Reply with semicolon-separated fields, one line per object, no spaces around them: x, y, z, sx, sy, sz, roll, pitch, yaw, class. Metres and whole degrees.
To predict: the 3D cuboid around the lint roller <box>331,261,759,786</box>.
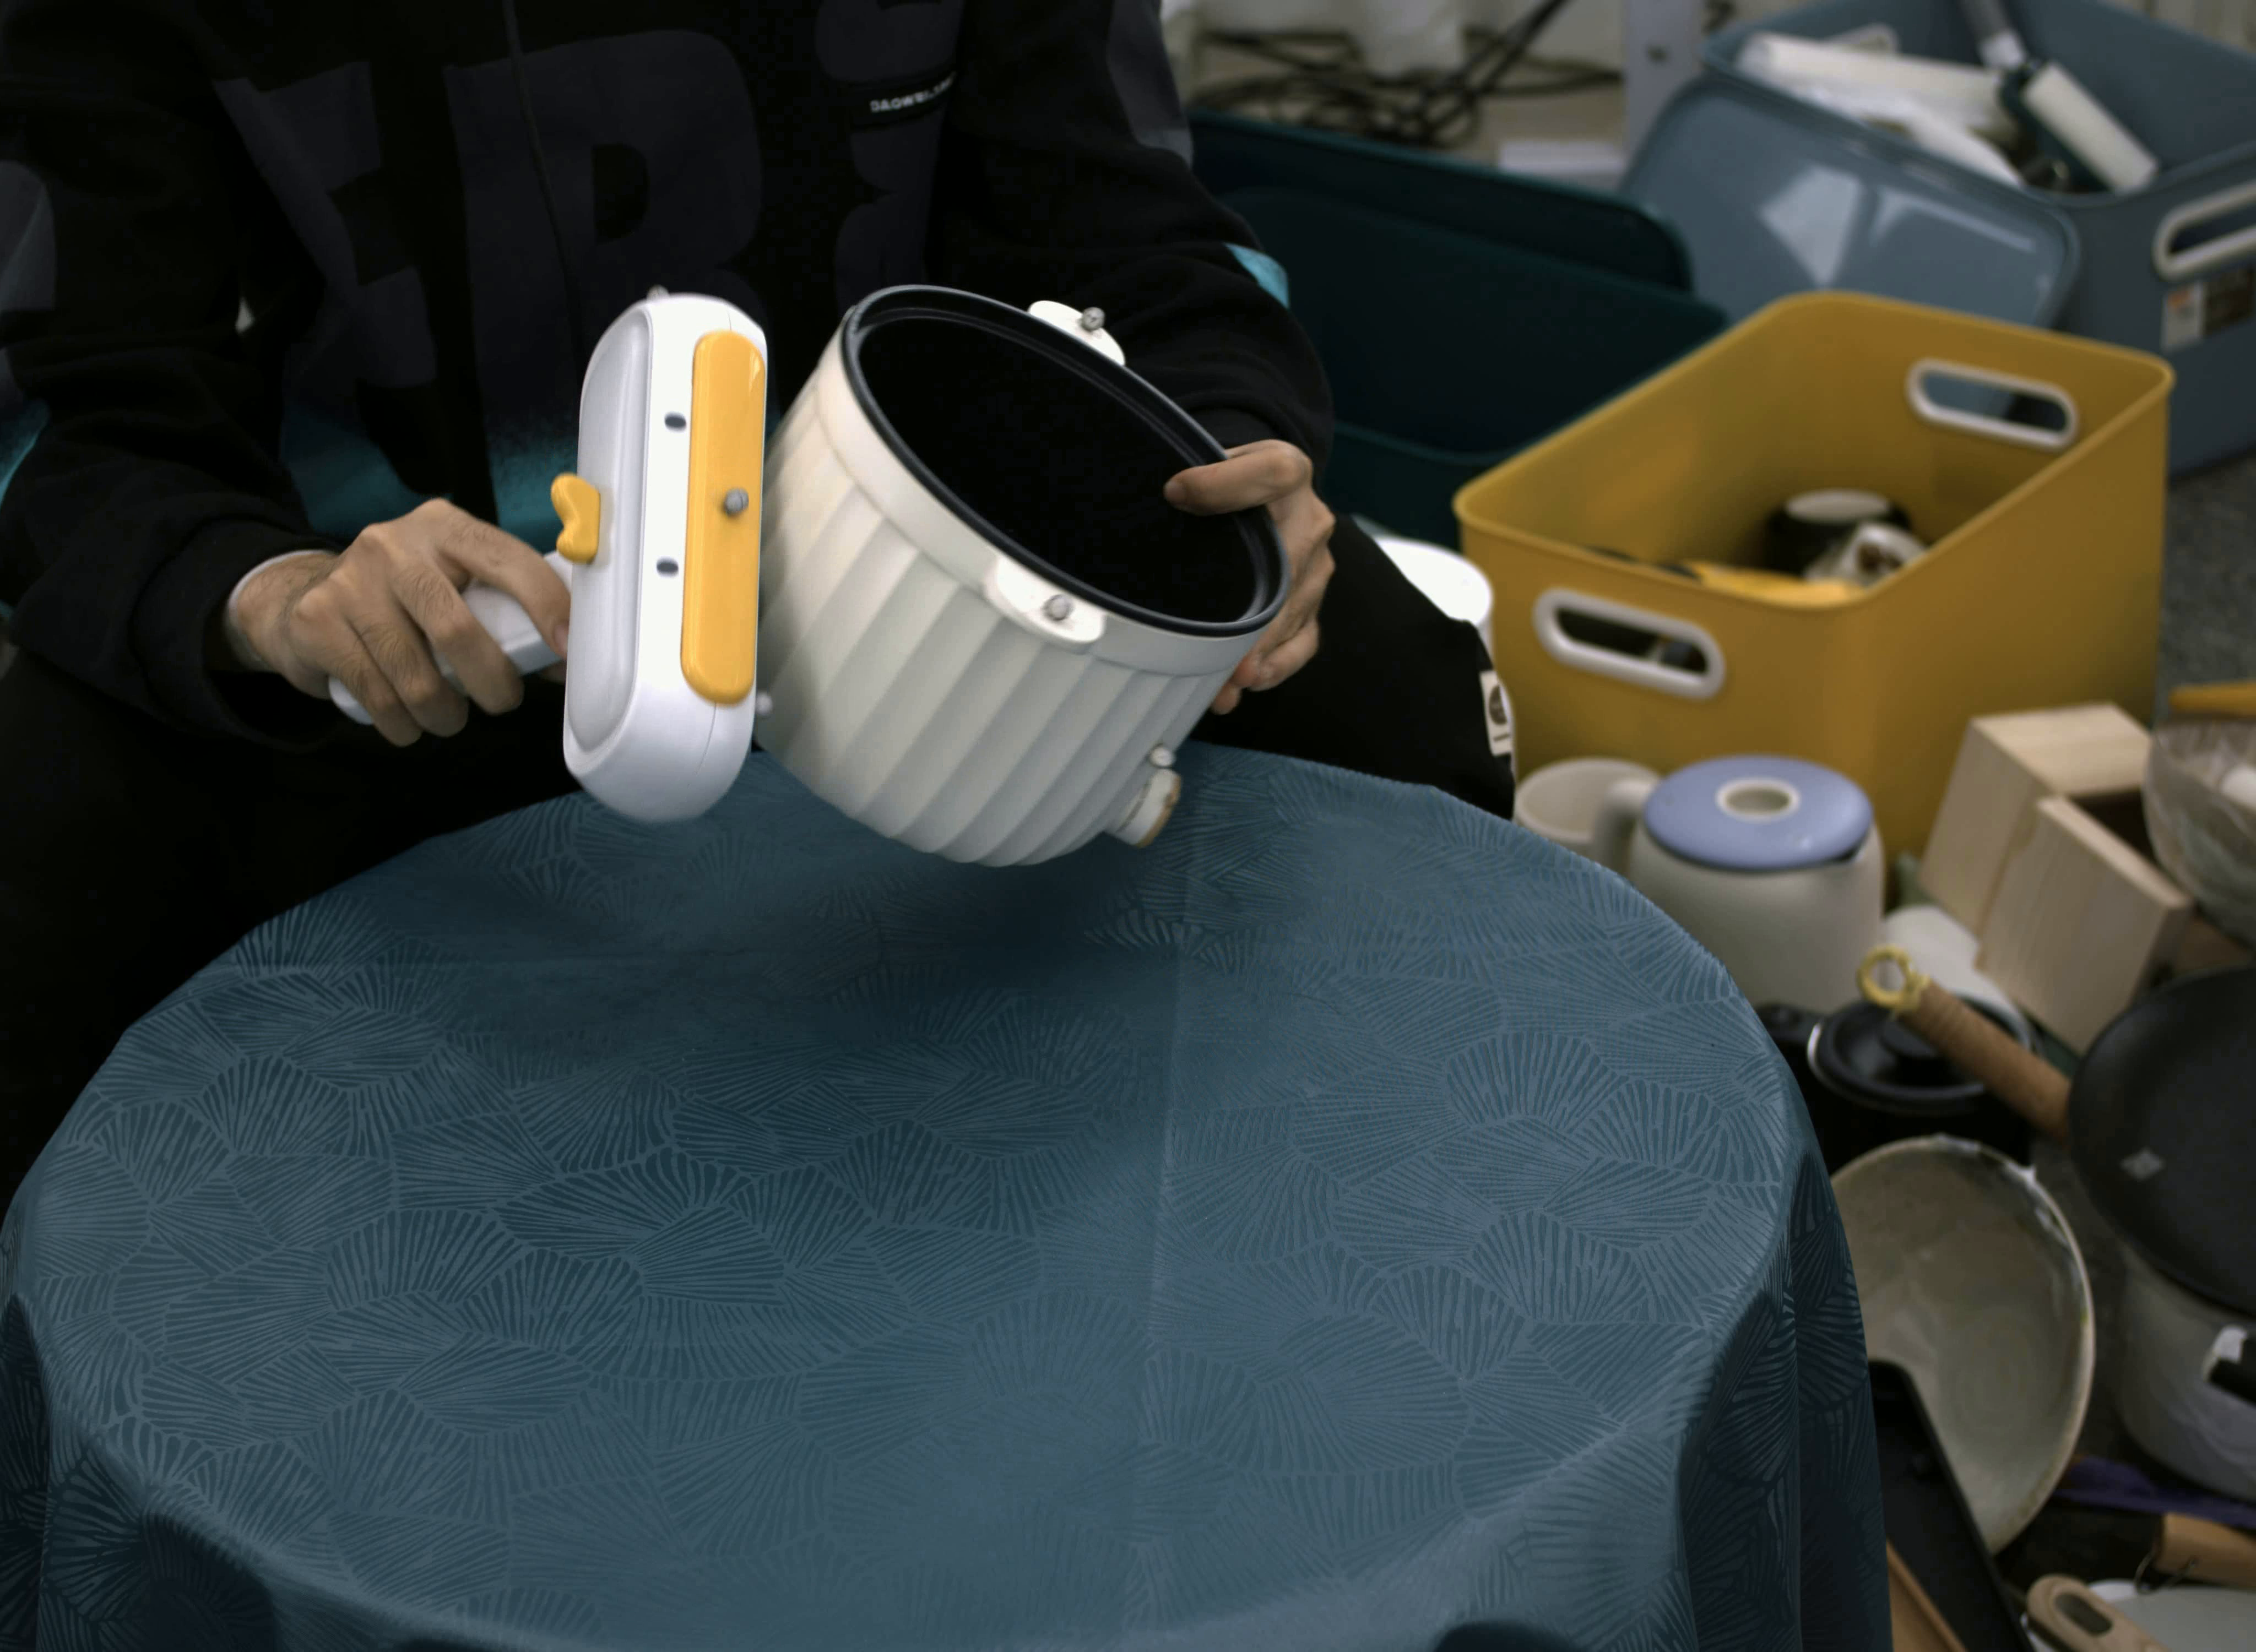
-0.200;-0.081;1.946;0.074;0.189;0.196;19;52;-38;lint roller

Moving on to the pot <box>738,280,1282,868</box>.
-0.052;-0.078;1.970;0.190;0.140;0.244;26;29;-13;pot
